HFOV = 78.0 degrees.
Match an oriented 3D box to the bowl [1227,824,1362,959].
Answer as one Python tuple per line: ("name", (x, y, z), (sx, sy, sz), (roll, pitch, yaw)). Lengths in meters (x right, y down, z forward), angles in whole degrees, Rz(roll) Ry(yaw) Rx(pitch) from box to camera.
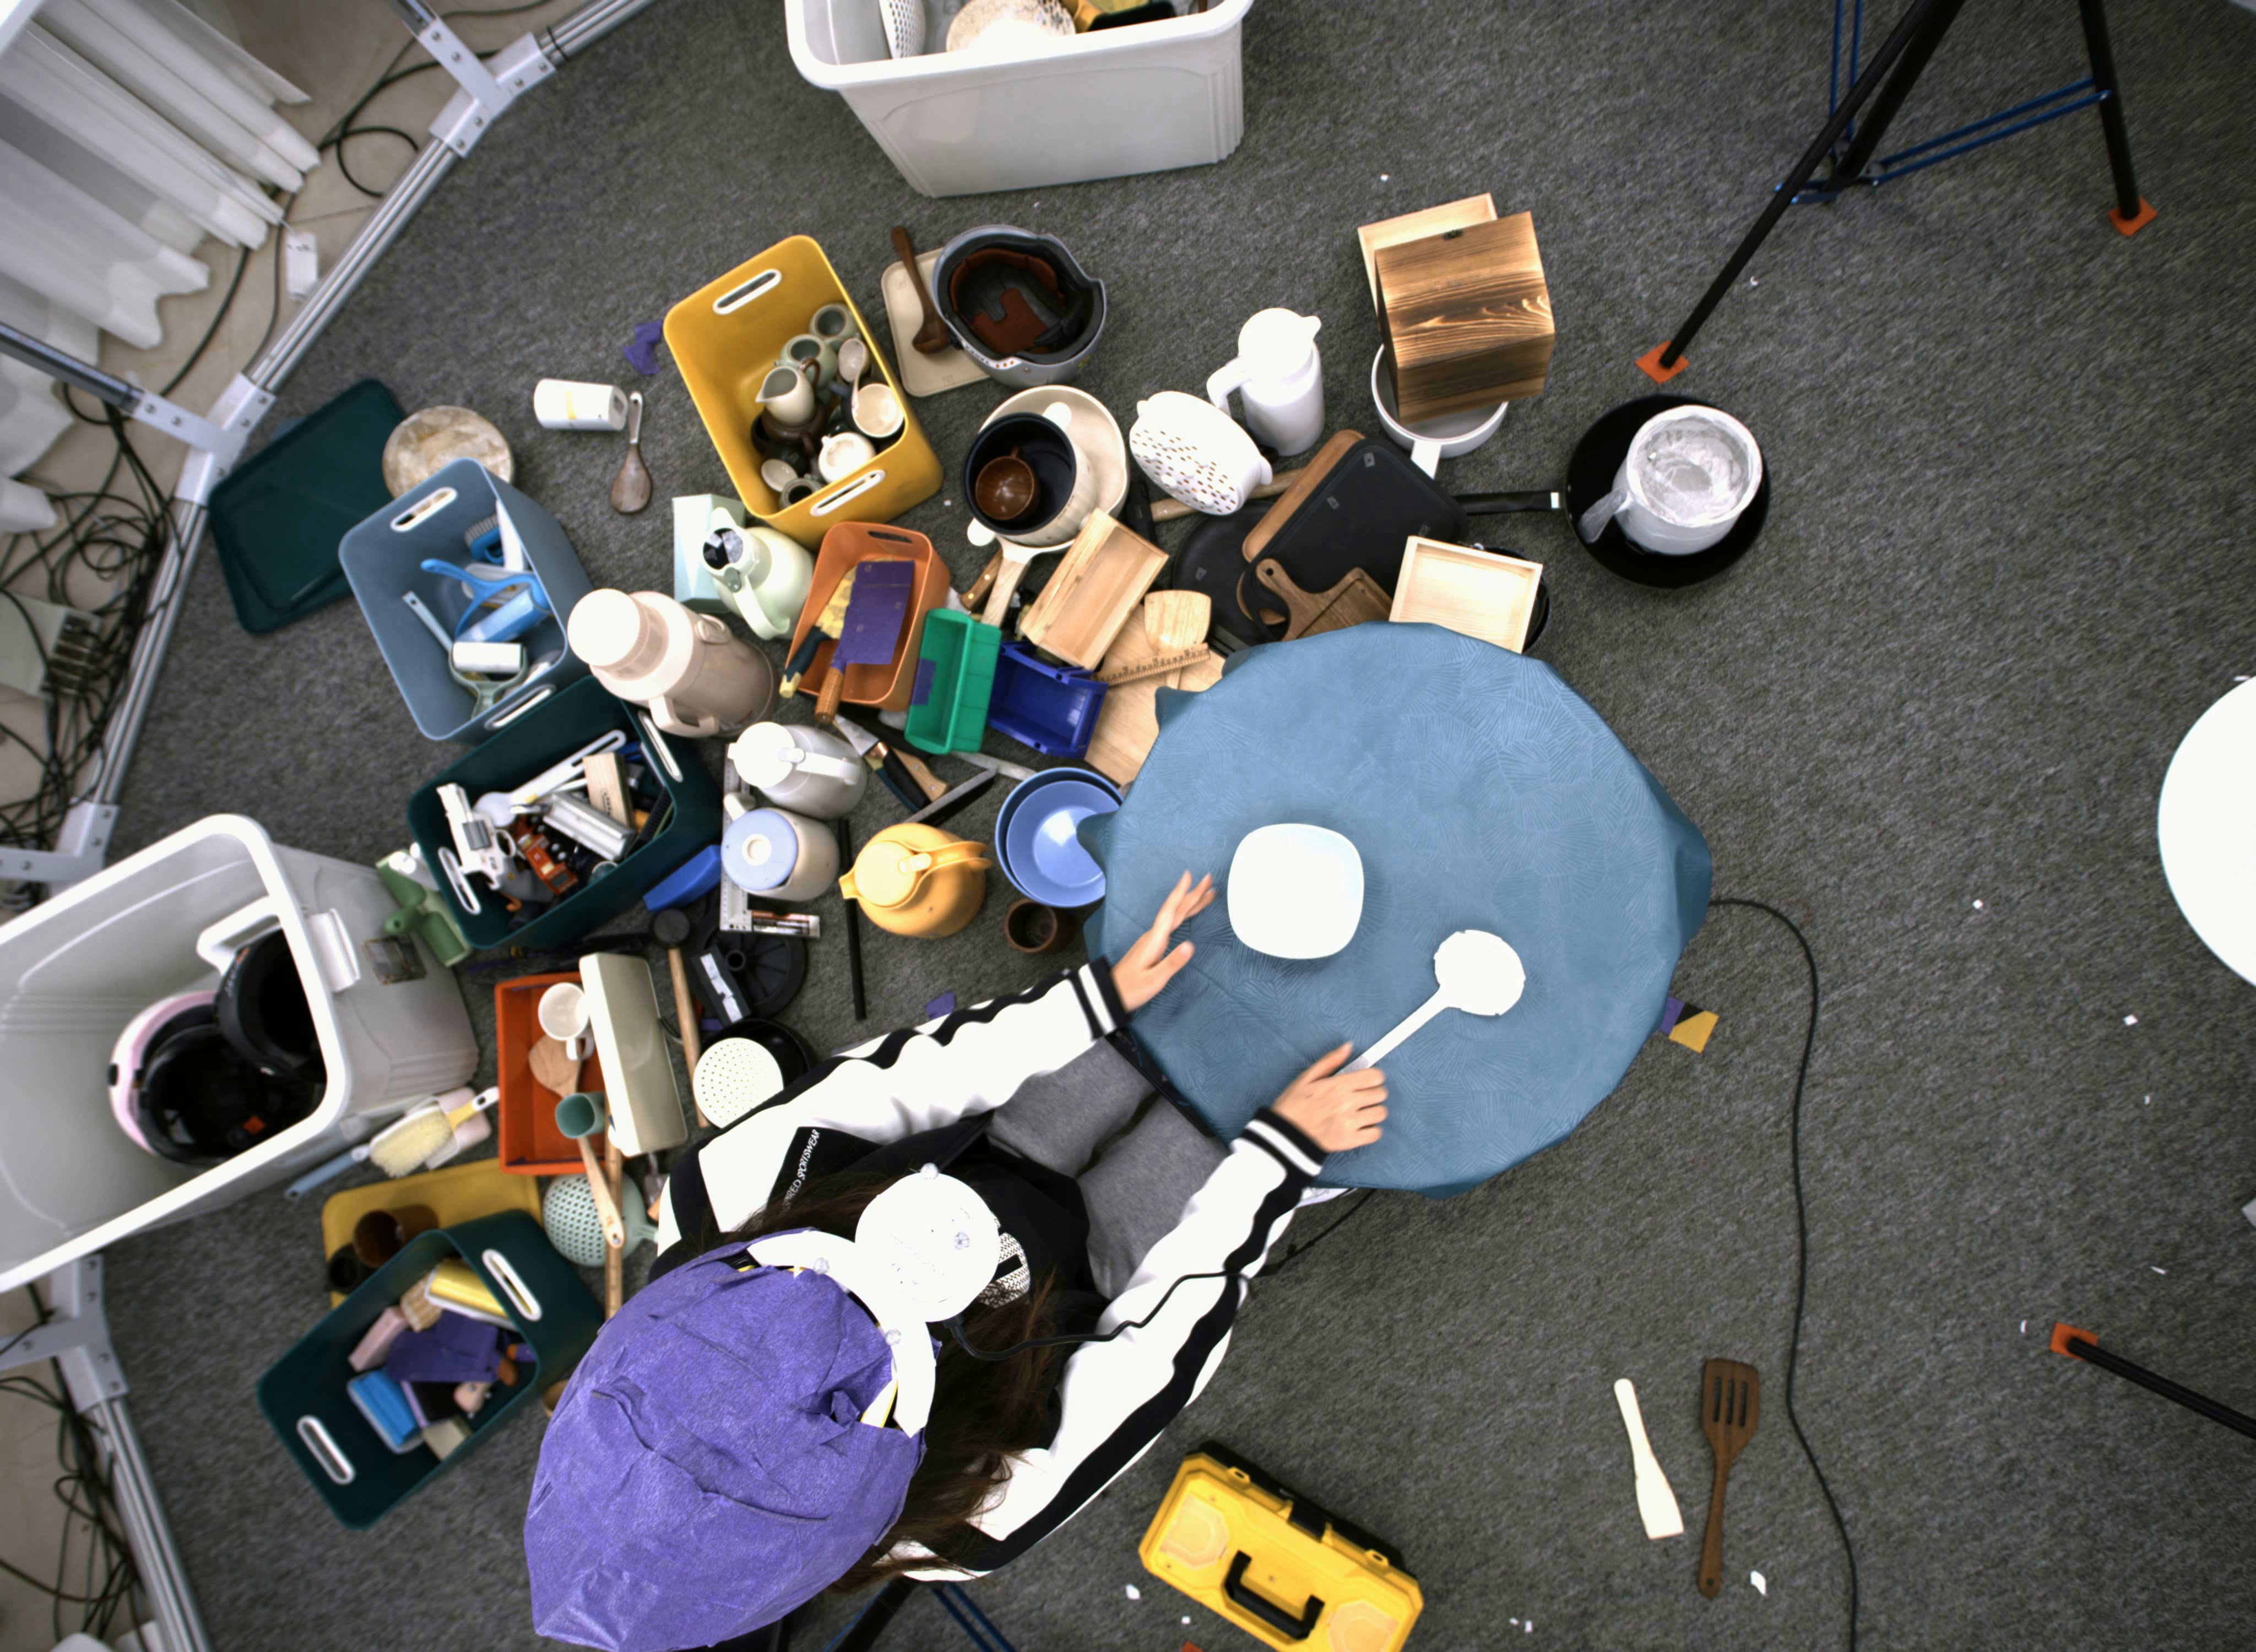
("bowl", (0.175, 0.069, 1.451), (0.152, 0.058, 0.151), (-1, 86, 10))

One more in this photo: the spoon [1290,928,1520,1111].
("spoon", (0.276, 0.205, 1.422), (0.279, 0.059, 0.100), (-37, 79, 6))
